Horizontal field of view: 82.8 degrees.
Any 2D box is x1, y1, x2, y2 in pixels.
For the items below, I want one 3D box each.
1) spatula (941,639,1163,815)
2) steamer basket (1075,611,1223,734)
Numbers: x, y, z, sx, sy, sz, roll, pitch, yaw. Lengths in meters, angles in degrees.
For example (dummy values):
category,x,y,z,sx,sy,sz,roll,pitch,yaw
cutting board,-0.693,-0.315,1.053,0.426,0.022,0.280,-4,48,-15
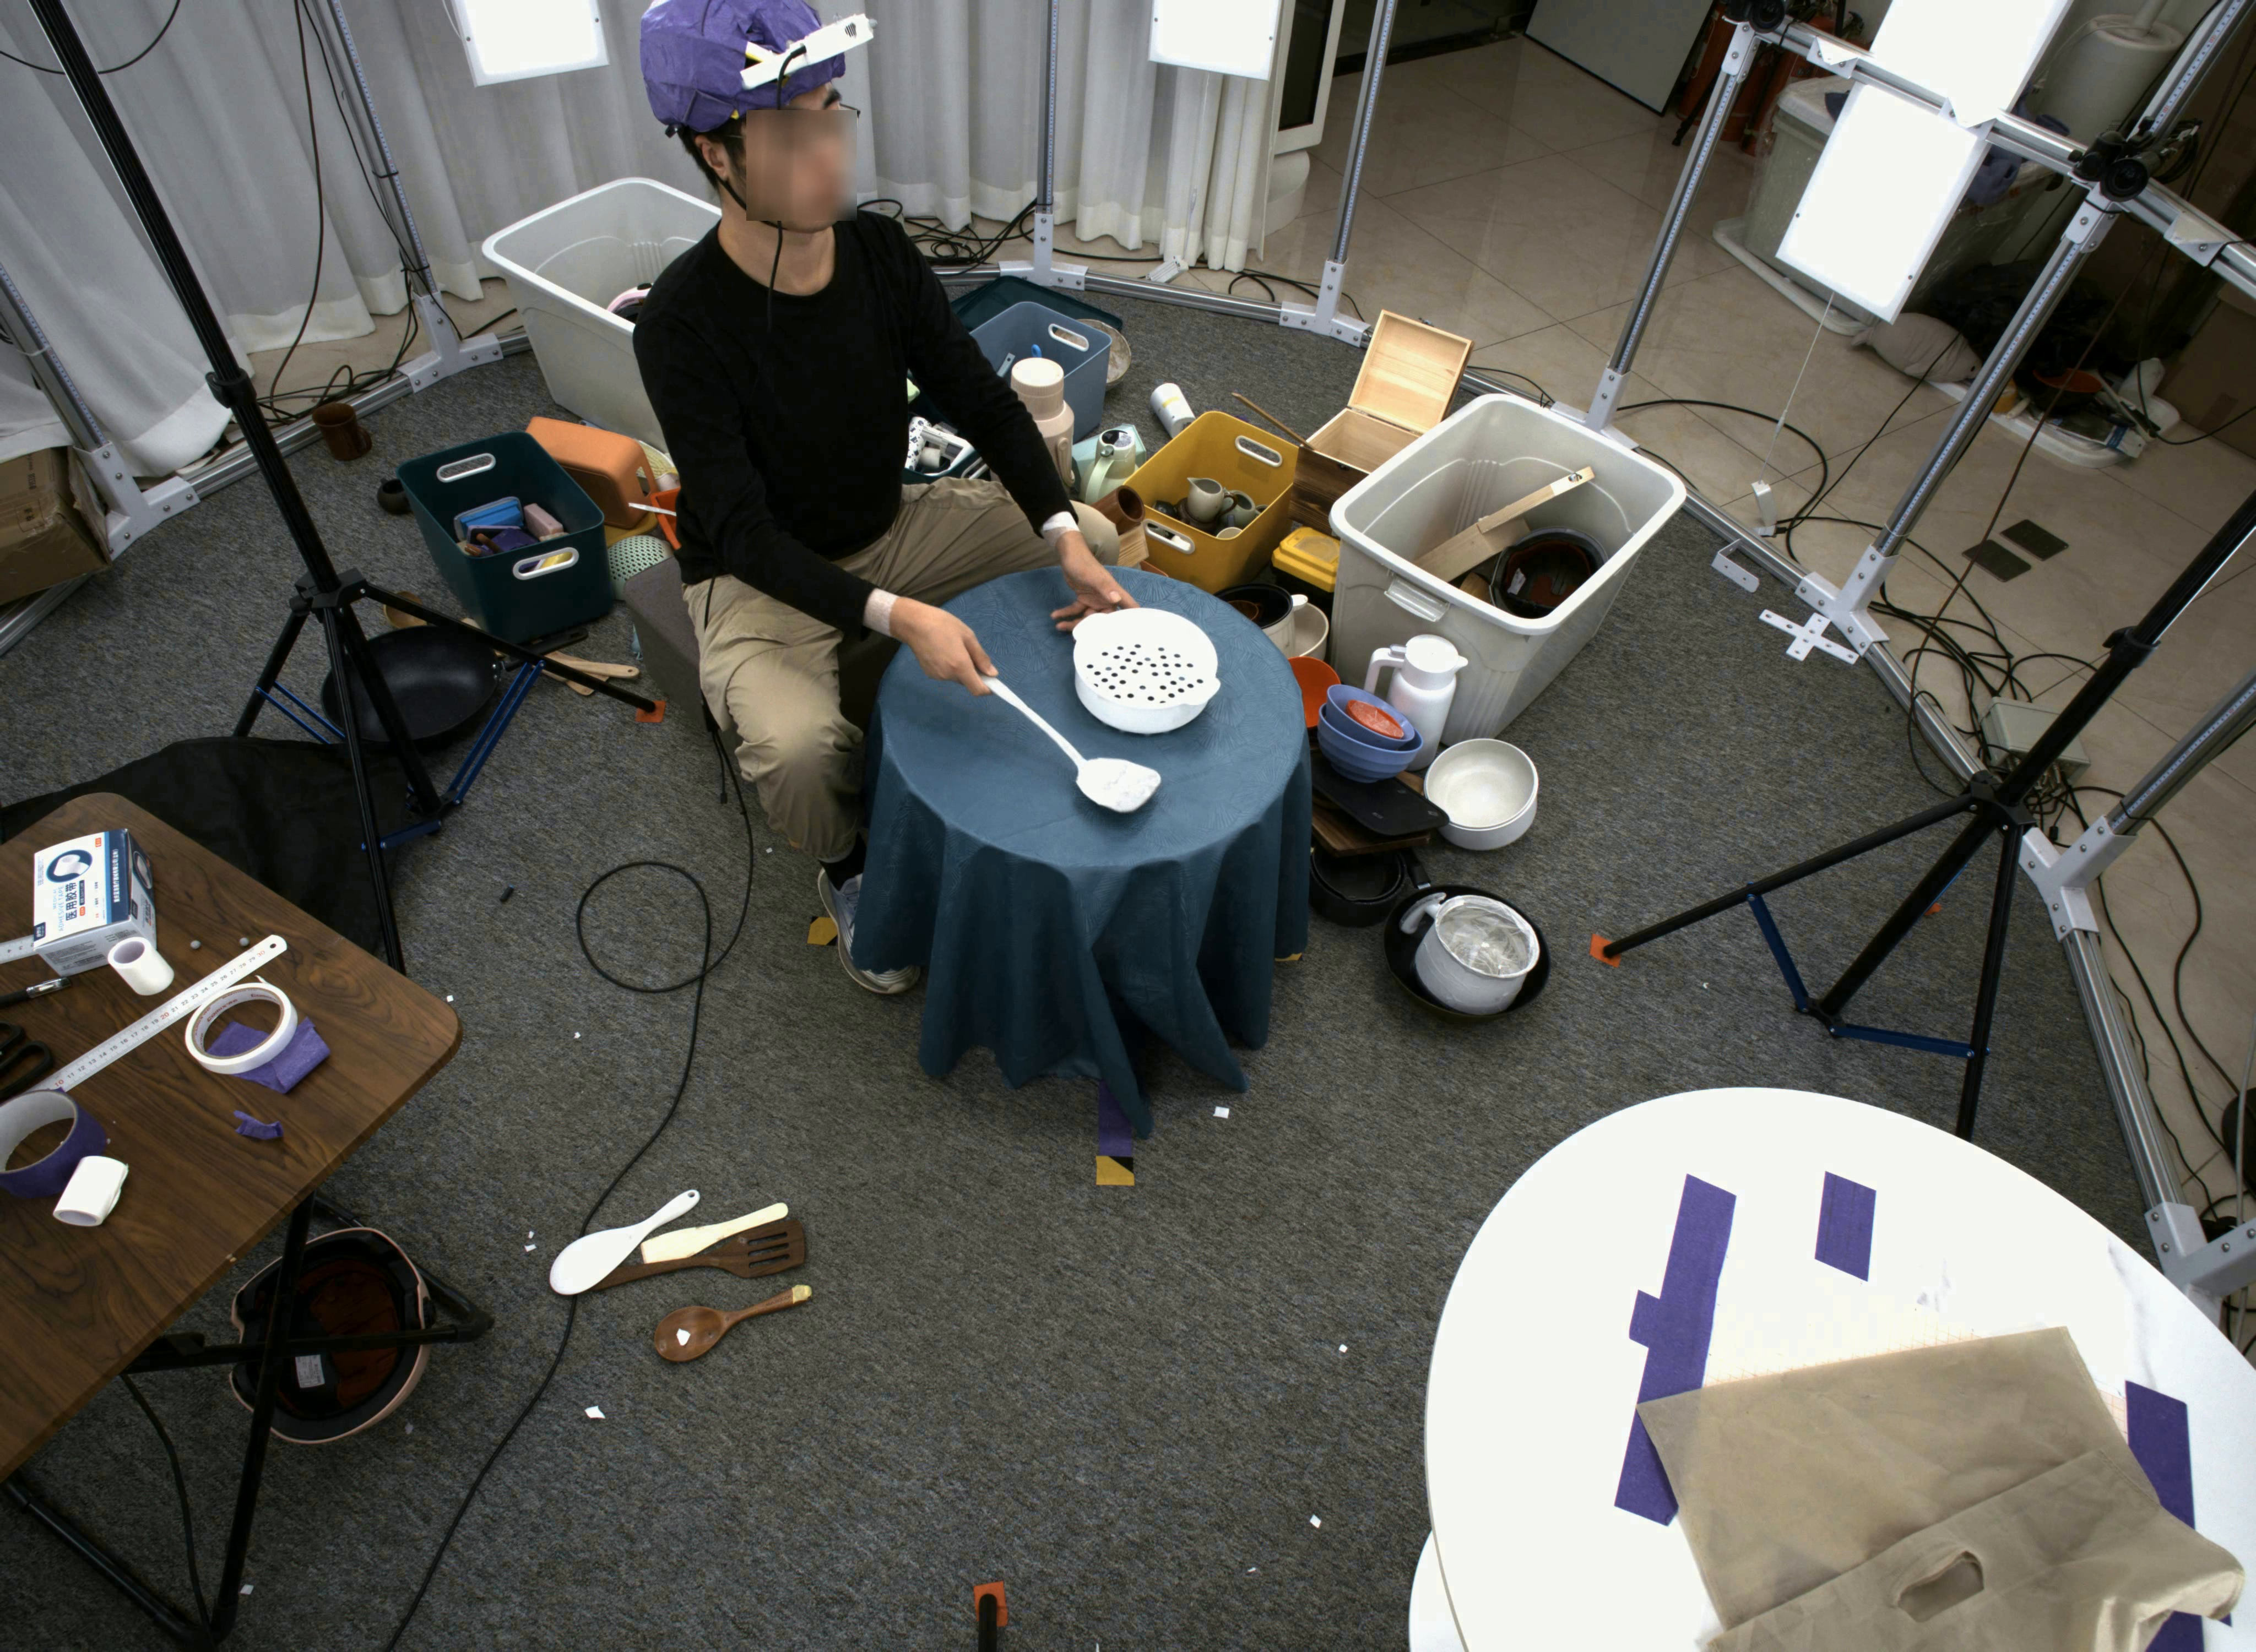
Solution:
category,x,y,z,sx,sy,sz,roll,pitch,yaw
spatula,-0.114,-0.141,1.706,0.366,0.044,0.100,40,52,7
steamer basket,0.027,-0.216,1.814,0.233,0.067,0.204,32,53,23
